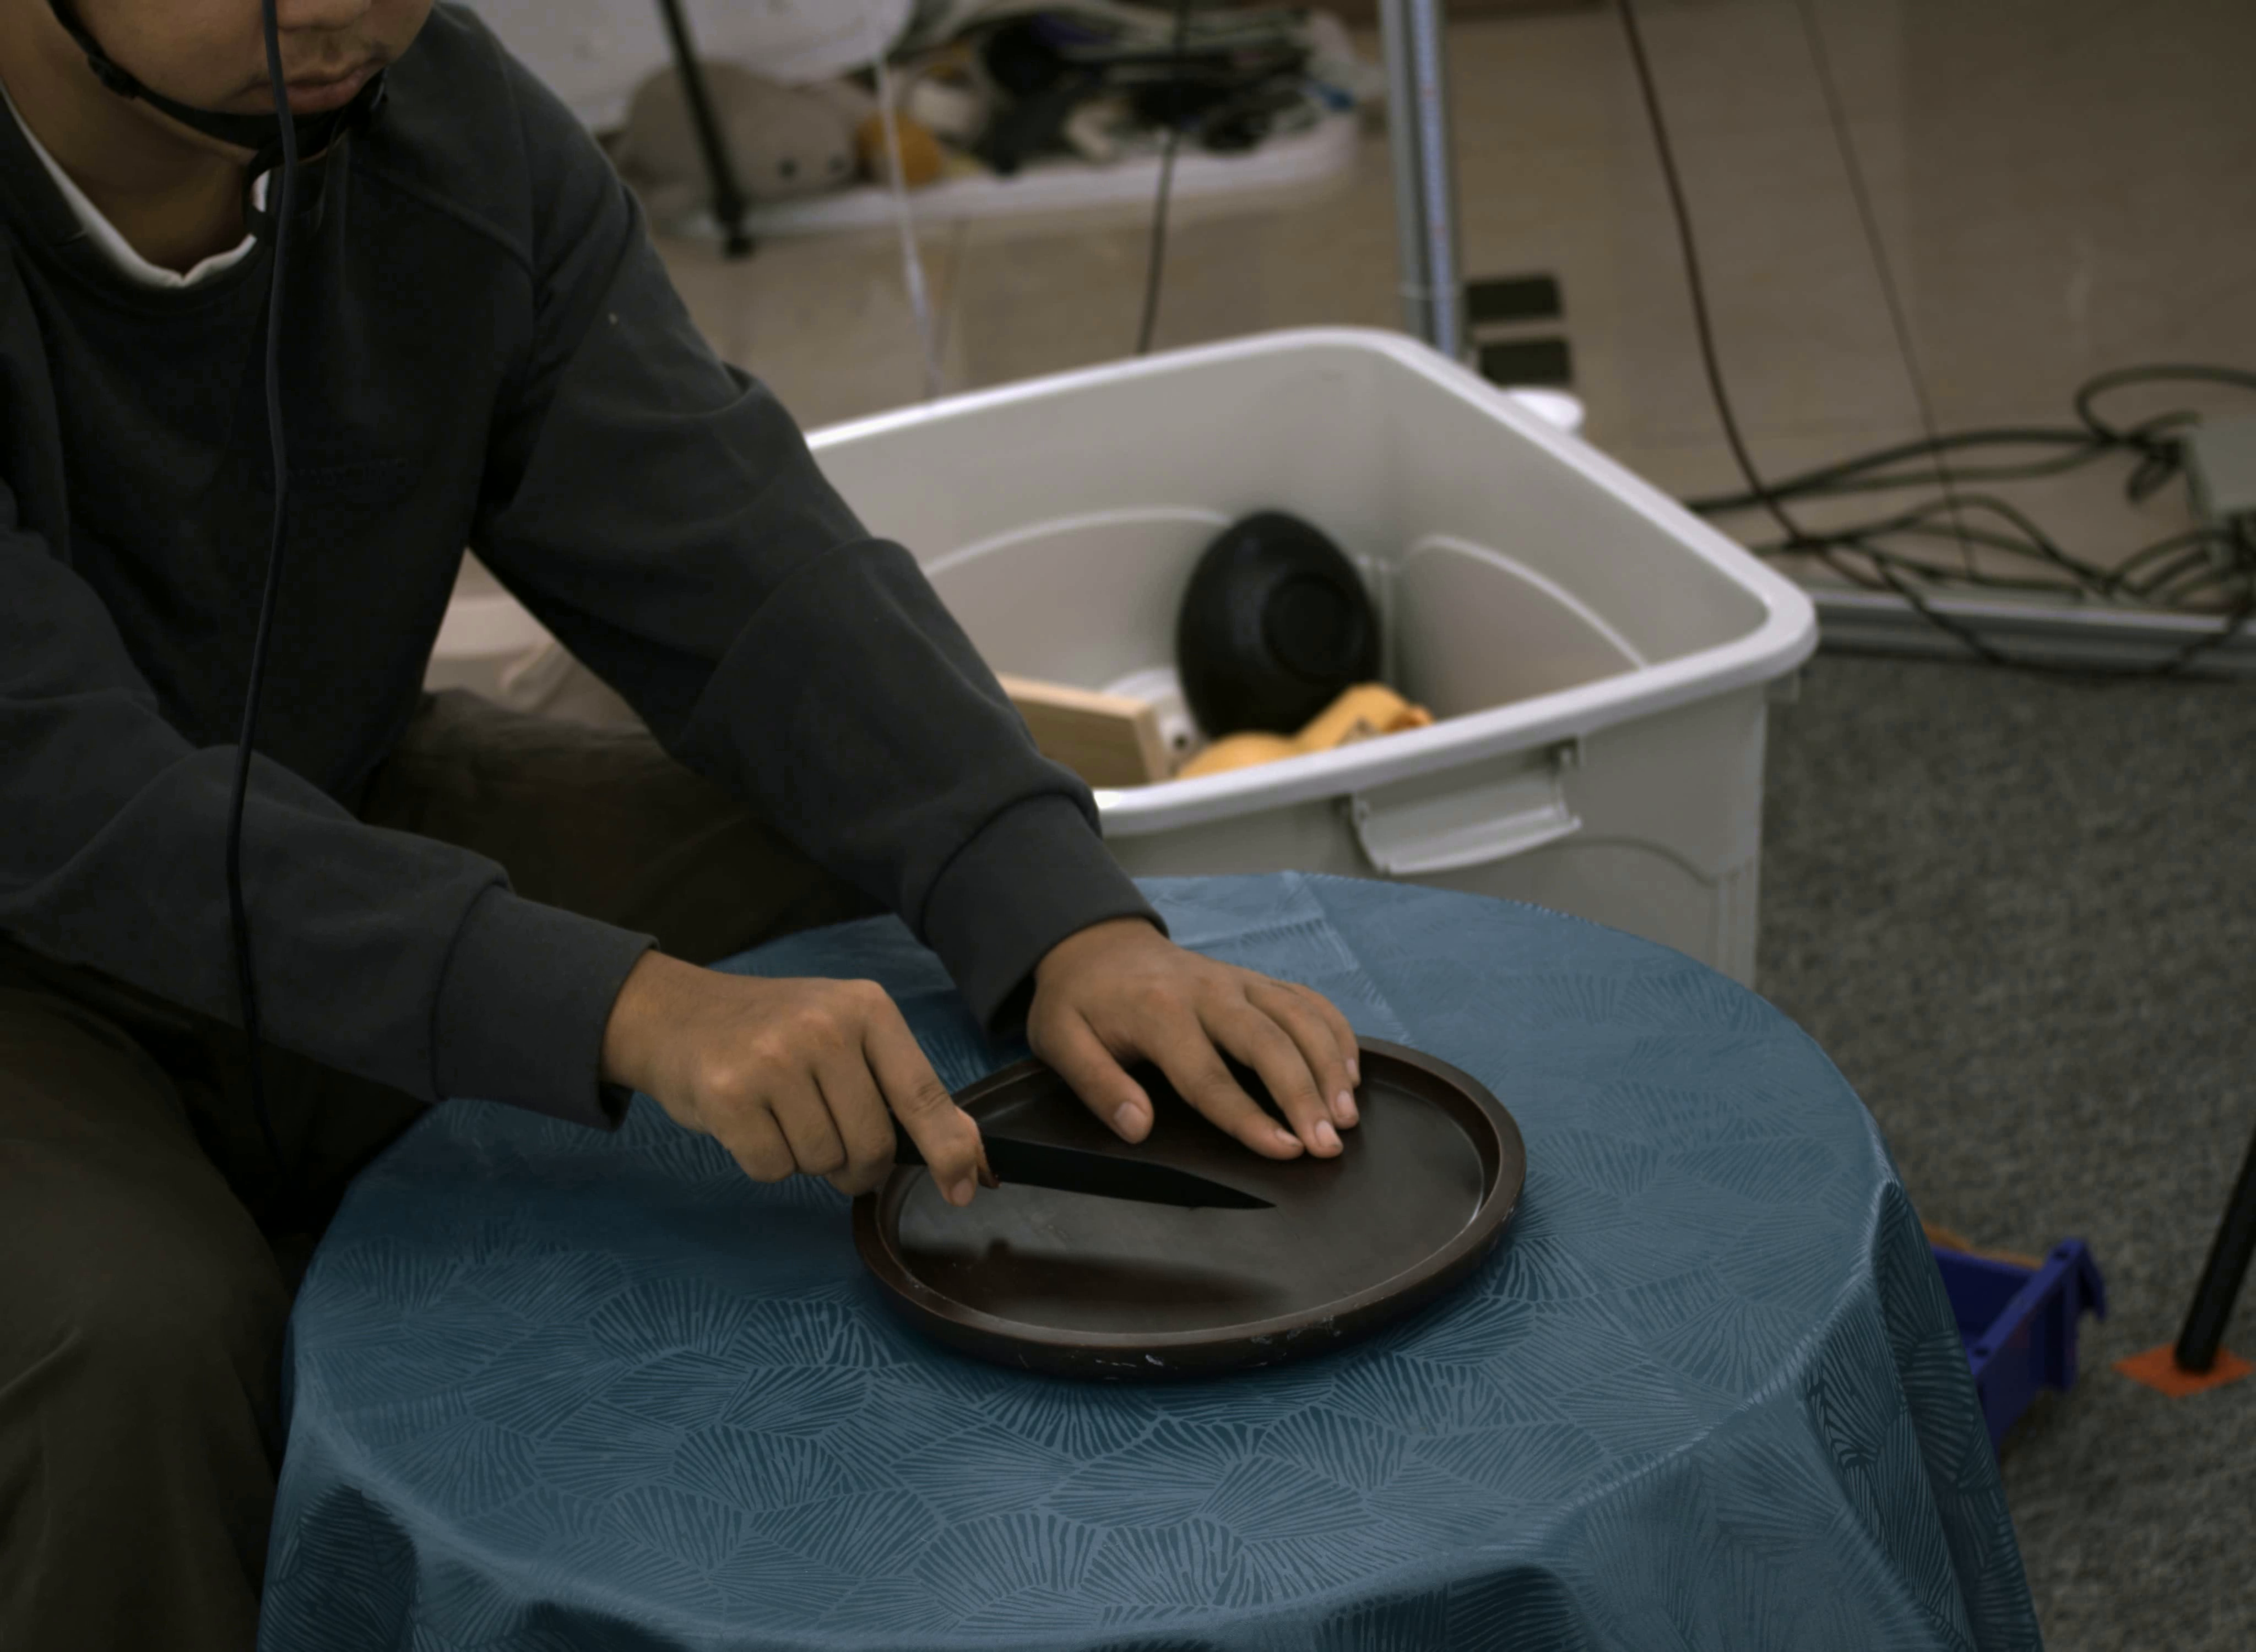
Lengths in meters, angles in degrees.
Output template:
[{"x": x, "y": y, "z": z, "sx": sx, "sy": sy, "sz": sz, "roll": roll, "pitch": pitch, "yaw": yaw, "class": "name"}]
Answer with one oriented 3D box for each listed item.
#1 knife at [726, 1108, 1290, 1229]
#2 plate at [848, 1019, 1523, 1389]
[{"x": -0.046, "y": 0.127, "z": 2.106, "sx": 0.225, "sy": 0.027, "sz": 0.017, "roll": 7, "pitch": 41, "yaw": 20, "class": "knife"}, {"x": 0.022, "y": 0.139, "z": 2.115, "sx": 0.254, "sy": 0.029, "sz": 0.251, "roll": -7, "pitch": 25, "yaw": 3, "class": "plate"}]
